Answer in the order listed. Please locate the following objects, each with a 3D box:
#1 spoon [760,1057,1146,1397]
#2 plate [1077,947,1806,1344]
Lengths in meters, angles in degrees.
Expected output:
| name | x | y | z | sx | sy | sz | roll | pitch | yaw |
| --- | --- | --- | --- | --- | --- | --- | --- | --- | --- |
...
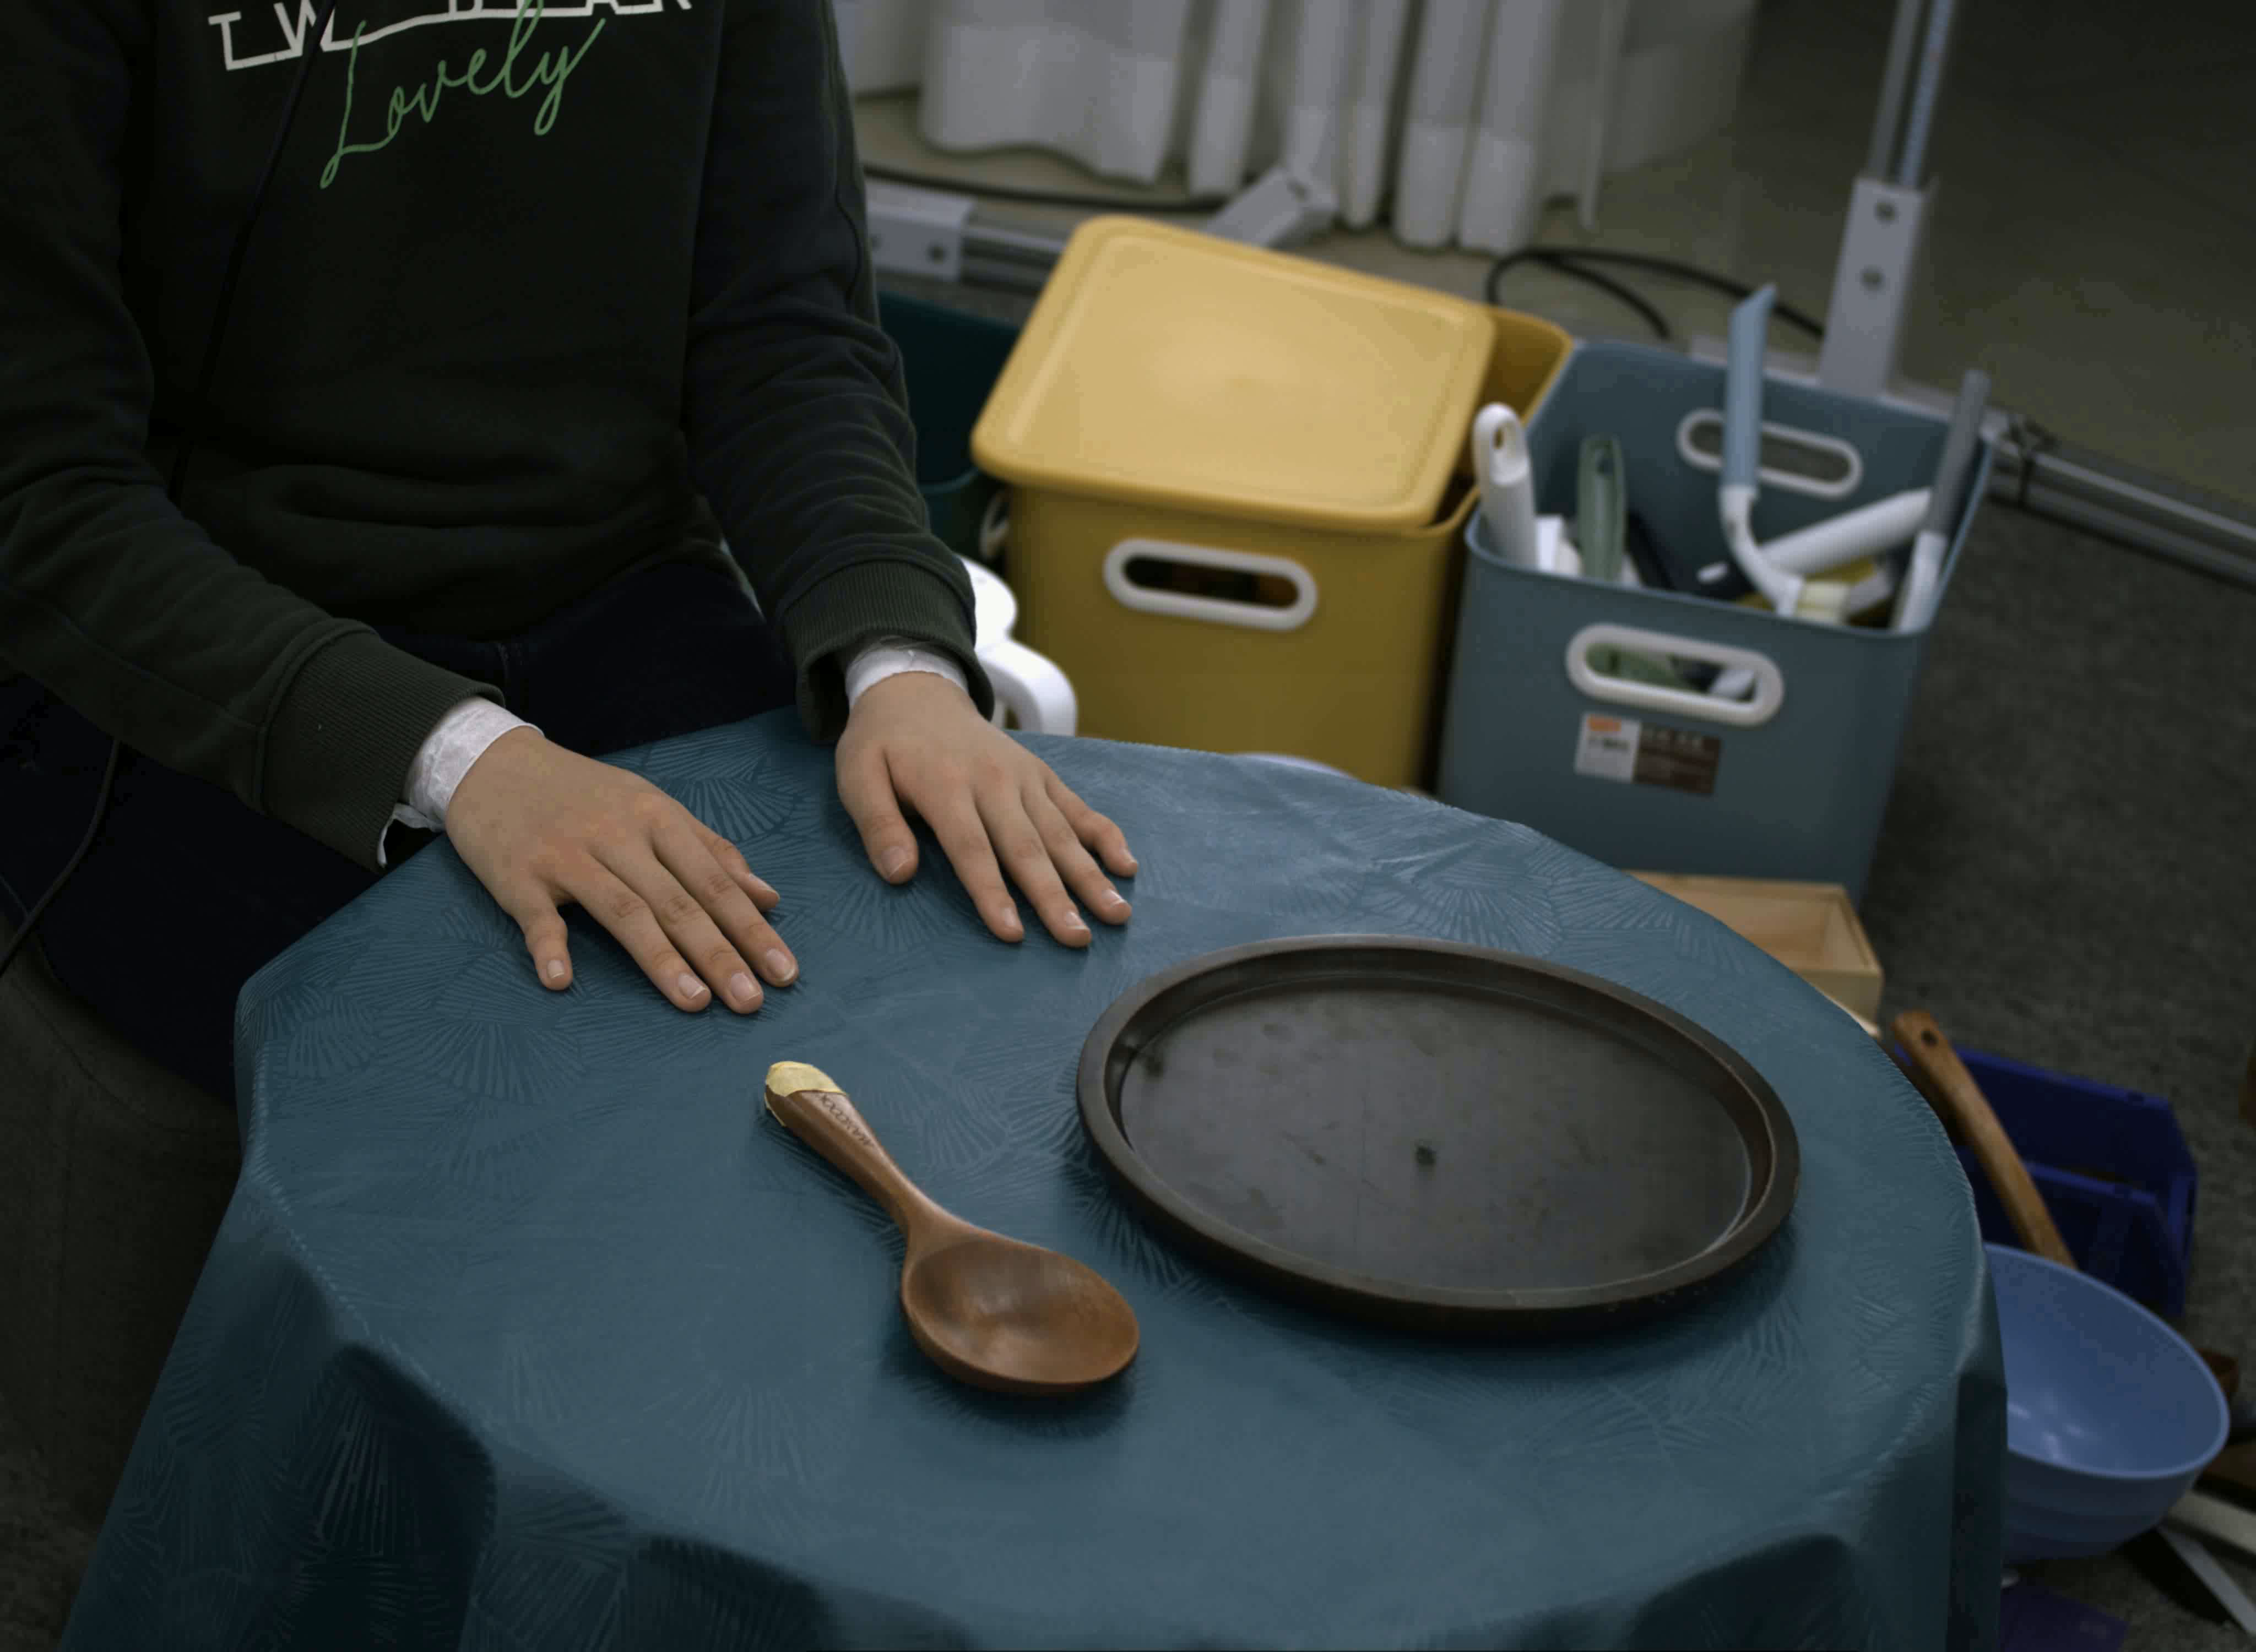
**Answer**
| name | x | y | z | sx | sy | sz | roll | pitch | yaw |
| --- | --- | --- | --- | --- | --- | --- | --- | --- | --- |
| spoon | -0.066 | 0.132 | 1.749 | 0.075 | 0.017 | 0.218 | -9 | 31 | -28 |
| plate | 0.107 | 0.108 | 1.832 | 0.254 | 0.029 | 0.256 | 6 | 27 | -3 |
